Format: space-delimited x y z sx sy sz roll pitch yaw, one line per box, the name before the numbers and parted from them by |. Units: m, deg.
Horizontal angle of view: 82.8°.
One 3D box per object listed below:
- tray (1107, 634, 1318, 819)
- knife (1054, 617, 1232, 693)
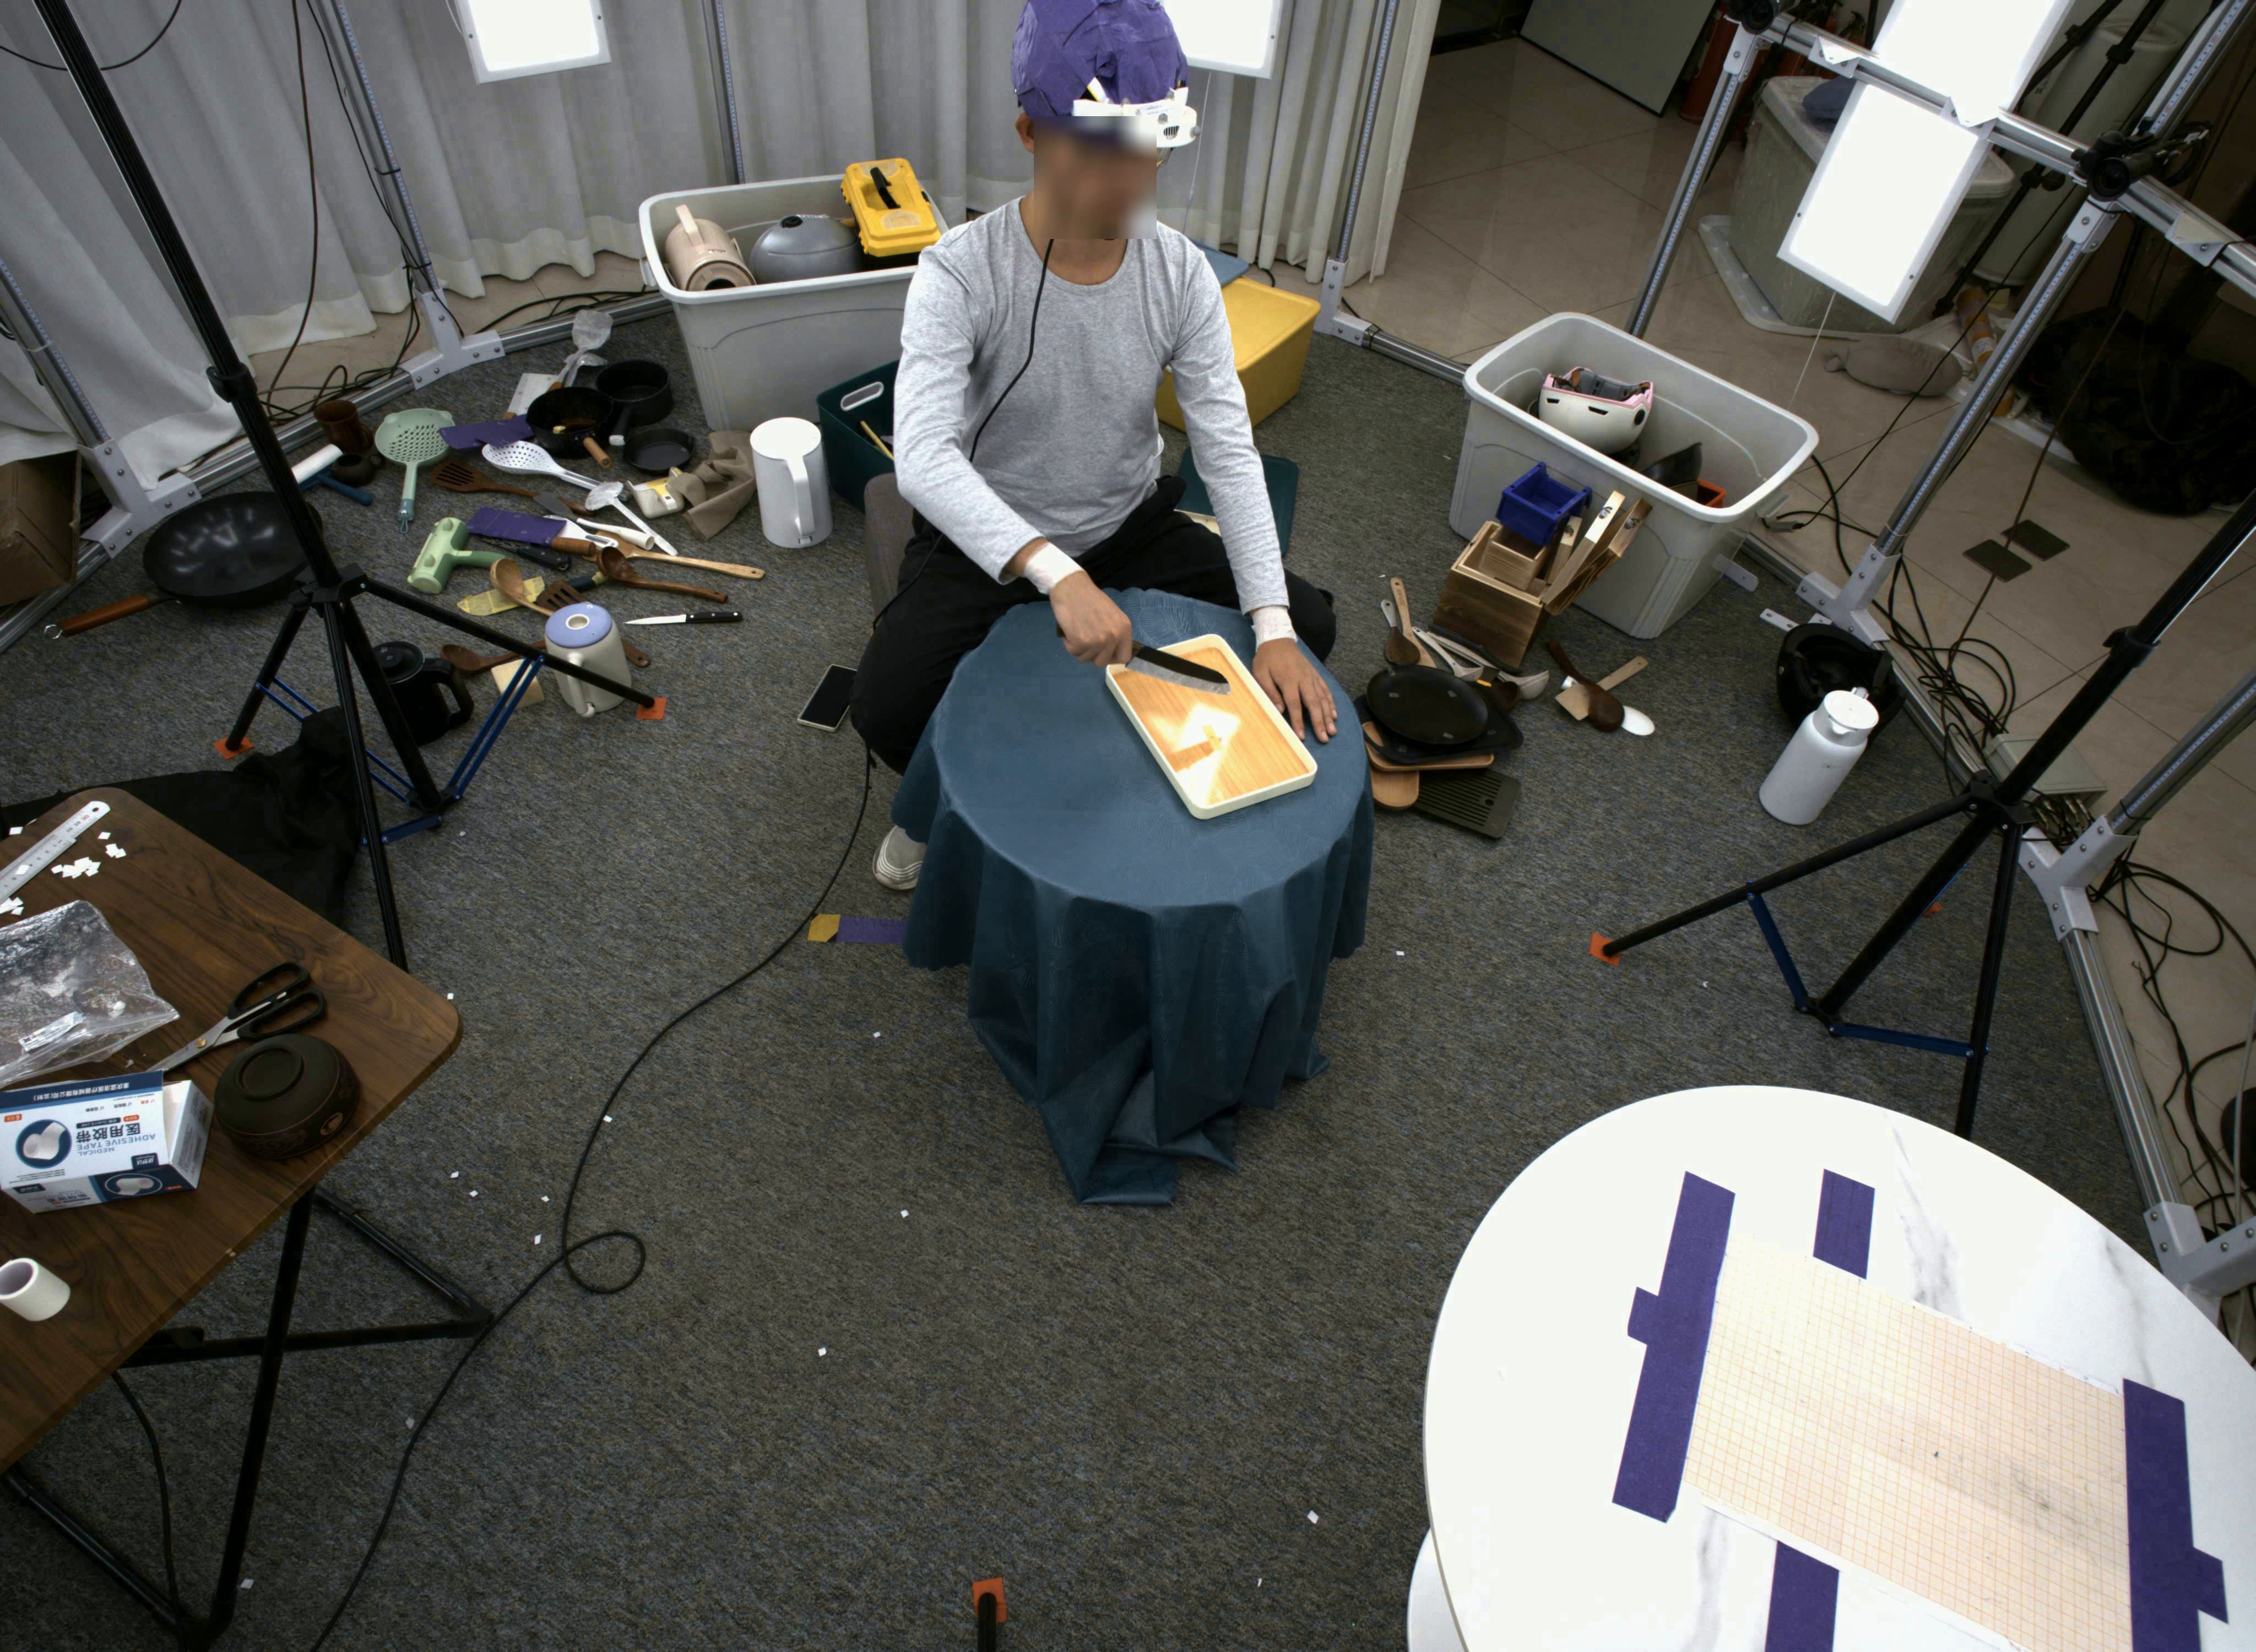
tray | 0.112 -0.145 1.784 0.192 0.027 0.307 -17 52 -18
knife | 0.025 -0.221 1.692 0.286 0.049 0.020 16 43 -30
